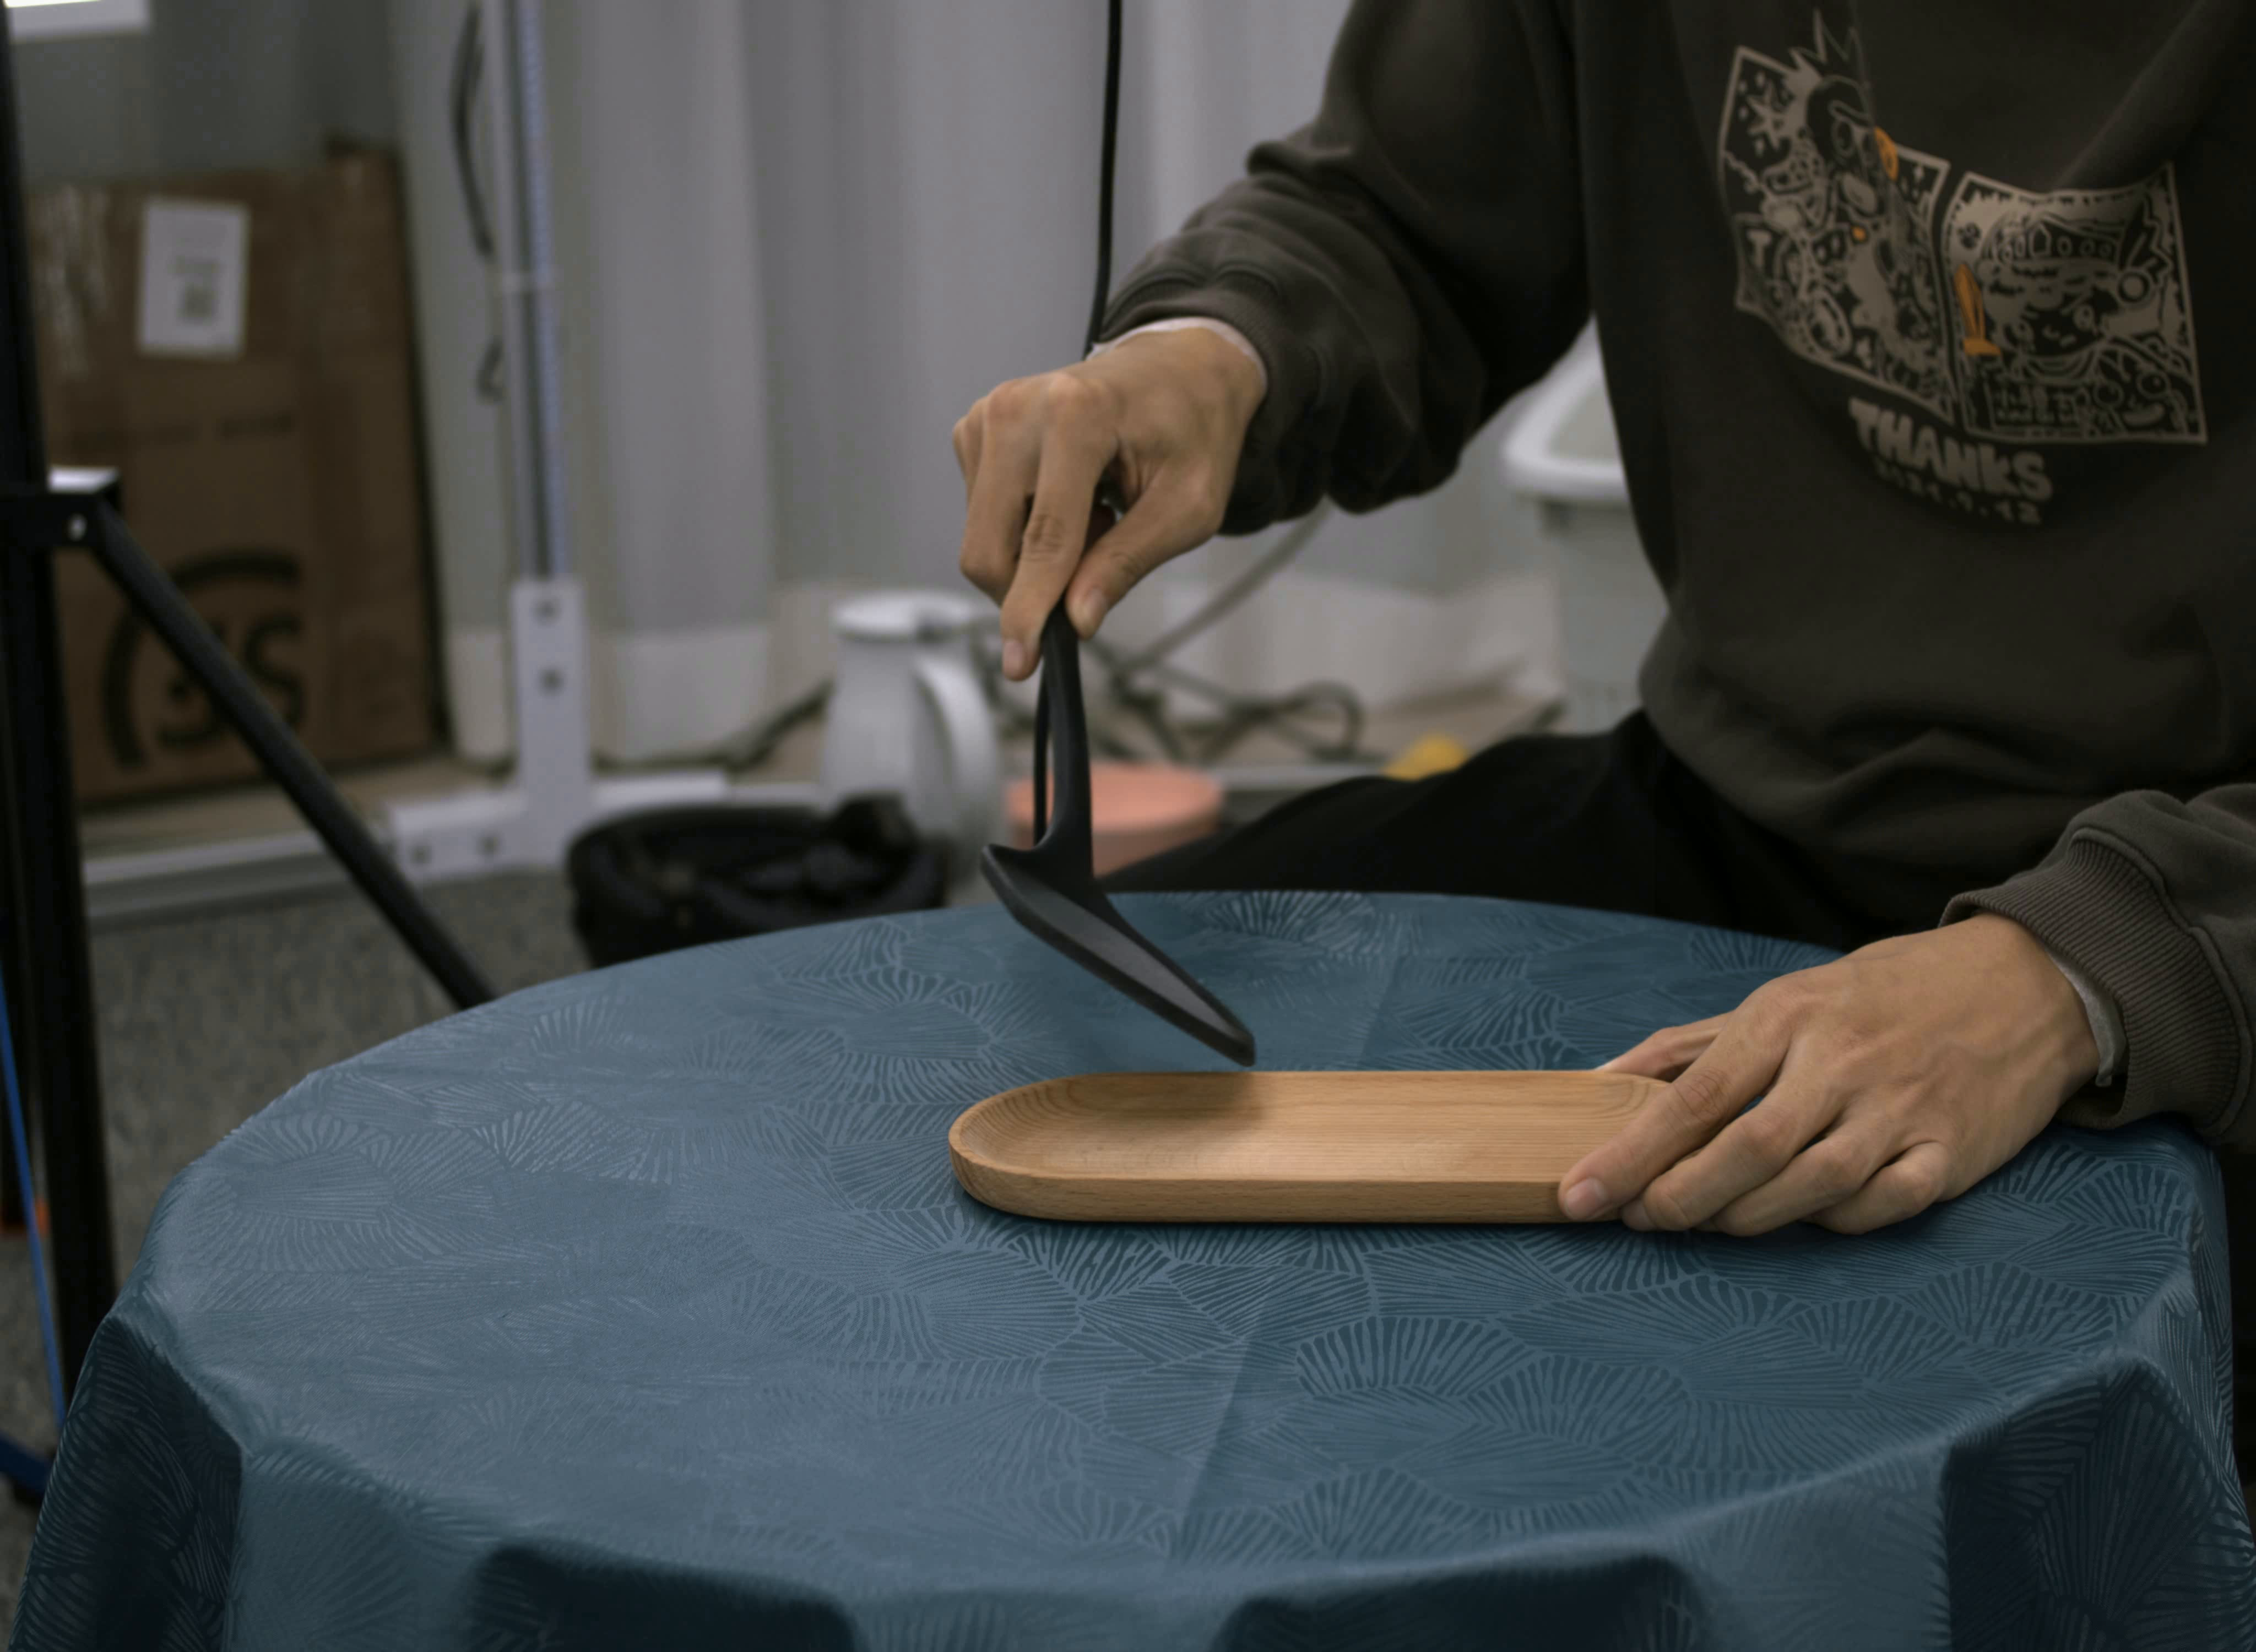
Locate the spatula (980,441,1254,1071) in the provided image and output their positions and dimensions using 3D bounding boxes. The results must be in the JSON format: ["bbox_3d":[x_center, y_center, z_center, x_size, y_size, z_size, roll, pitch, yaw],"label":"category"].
[{"bbox_3d":[-0.015,-0.038,1.711,0.098,0.041,0.330,35,29,-27],"label":"spatula"}]

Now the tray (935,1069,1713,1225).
[{"bbox_3d":[0.057,0.095,1.568,0.232,0.020,0.101,-1,15,10],"label":"tray"}]
